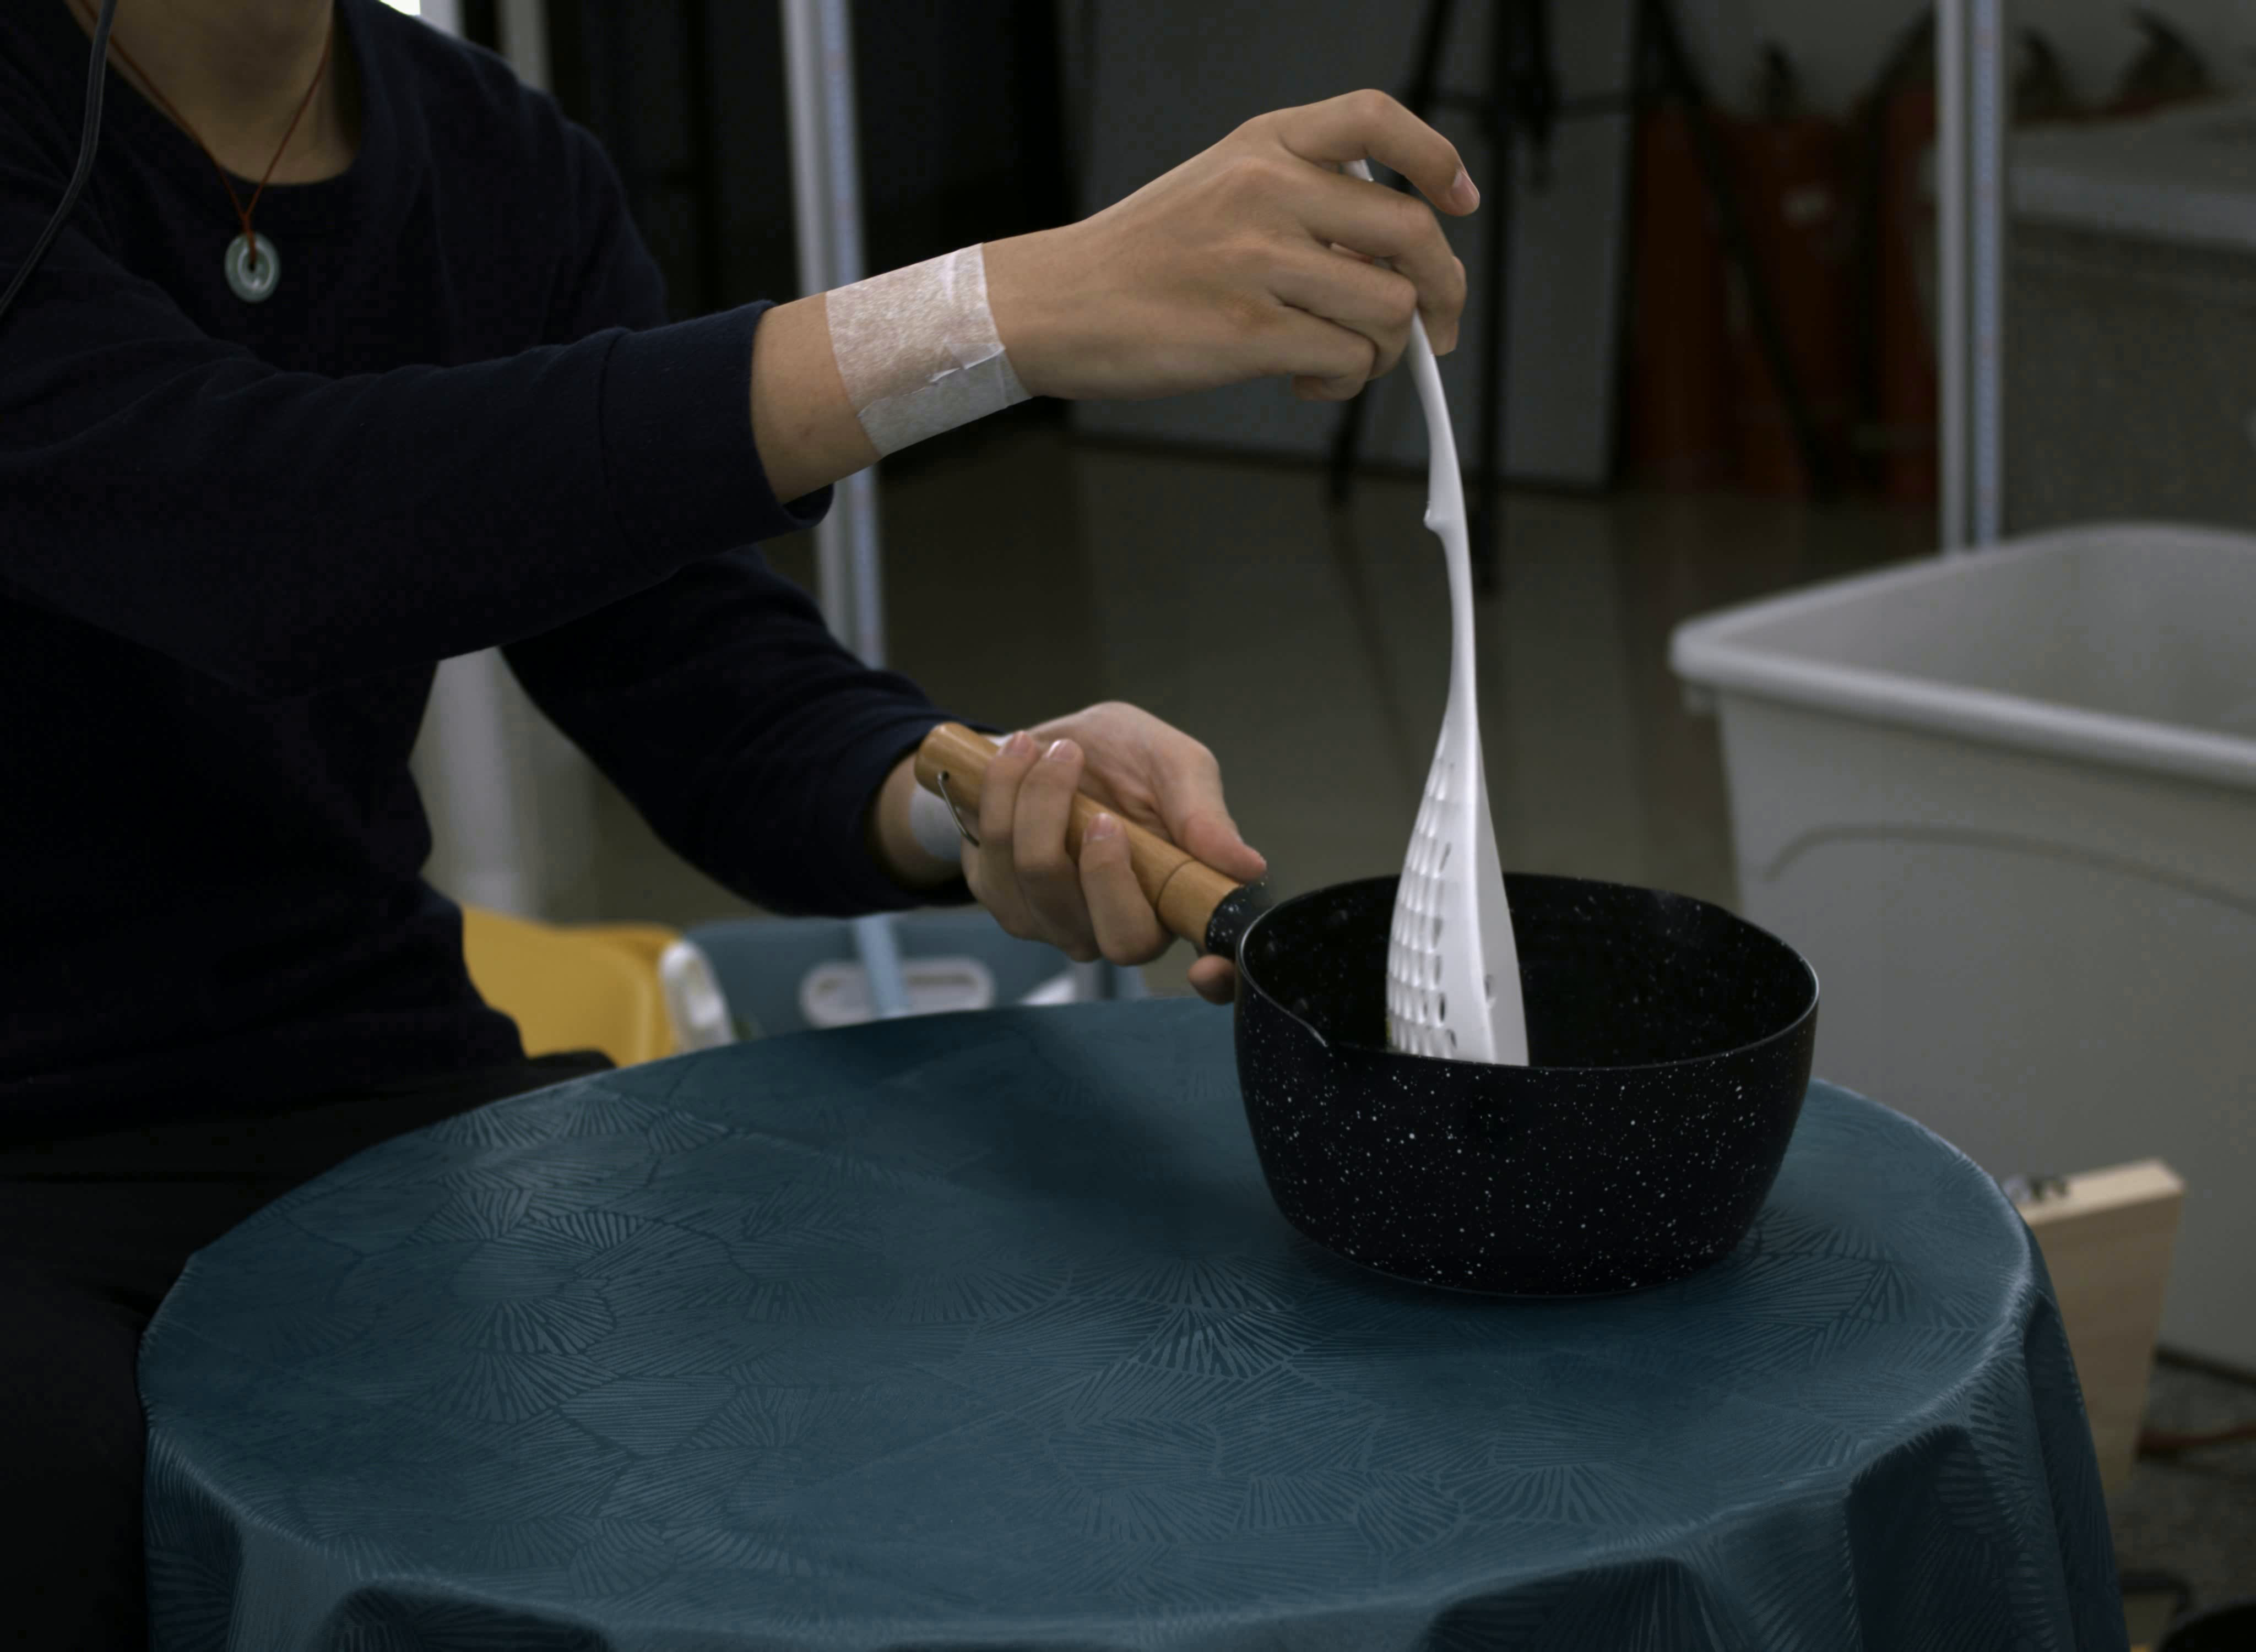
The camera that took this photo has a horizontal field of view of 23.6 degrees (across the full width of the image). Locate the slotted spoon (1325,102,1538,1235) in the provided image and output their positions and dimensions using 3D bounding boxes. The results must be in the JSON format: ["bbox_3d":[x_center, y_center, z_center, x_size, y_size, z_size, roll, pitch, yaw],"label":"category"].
[{"bbox_3d":[0.093,-0.044,1.639,0.050,0.352,0.136,-1,13,8],"label":"slotted spoon"}]

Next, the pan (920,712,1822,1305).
[{"bbox_3d":[0.062,0.053,1.732,0.345,0.109,0.203,17,24,36],"label":"pan"}]
